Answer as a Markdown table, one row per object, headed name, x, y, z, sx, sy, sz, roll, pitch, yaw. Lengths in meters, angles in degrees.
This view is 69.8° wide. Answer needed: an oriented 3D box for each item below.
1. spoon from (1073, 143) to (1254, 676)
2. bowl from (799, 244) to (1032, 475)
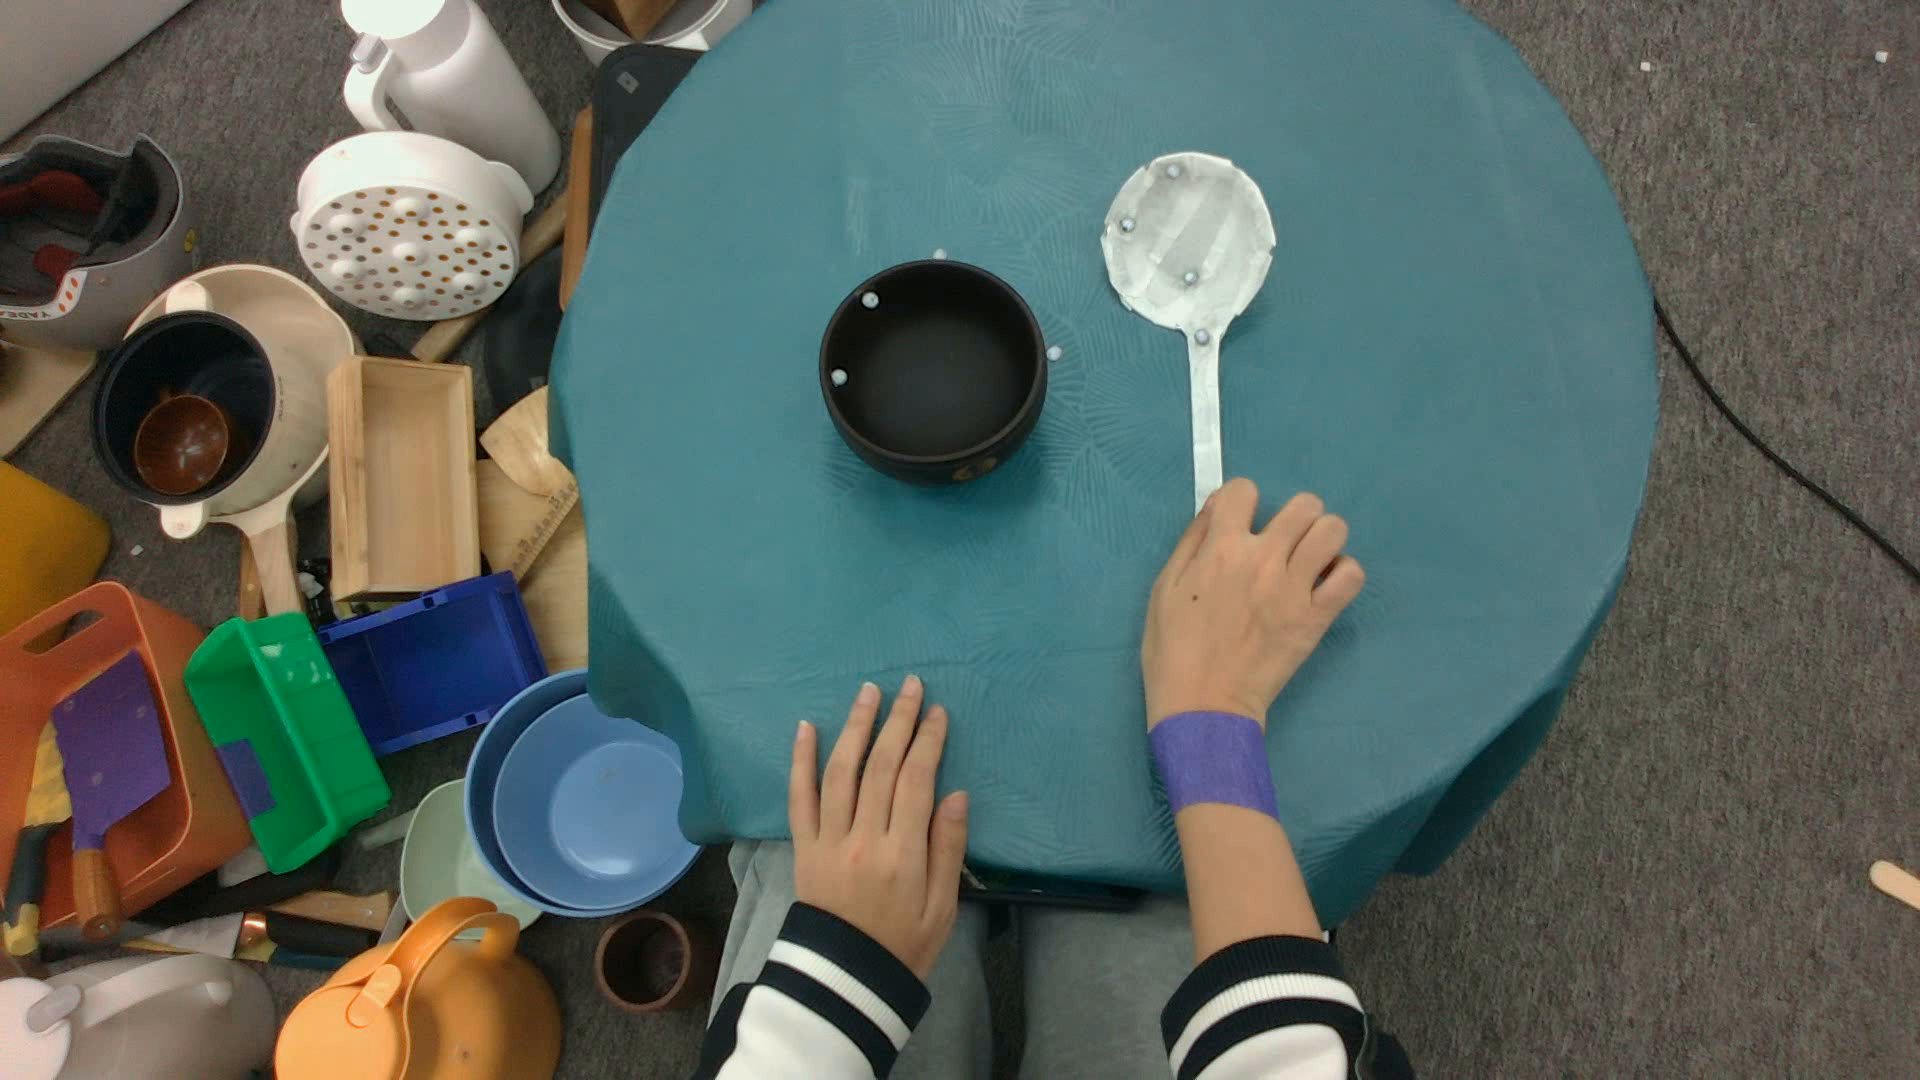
| name | x | y | z | sx | sy | sz | roll | pitch | yaw |
| --- | --- | --- | --- | --- | --- | --- | --- | --- | --- |
| spoon | 0.105 | -0.070 | 0.719 | 0.100 | 0.059 | 0.278 | -6 | 72 | 29 |
| bowl | -0.021 | -0.088 | 0.720 | 0.118 | 0.069 | 0.118 | -1 | 72 | 3 |
